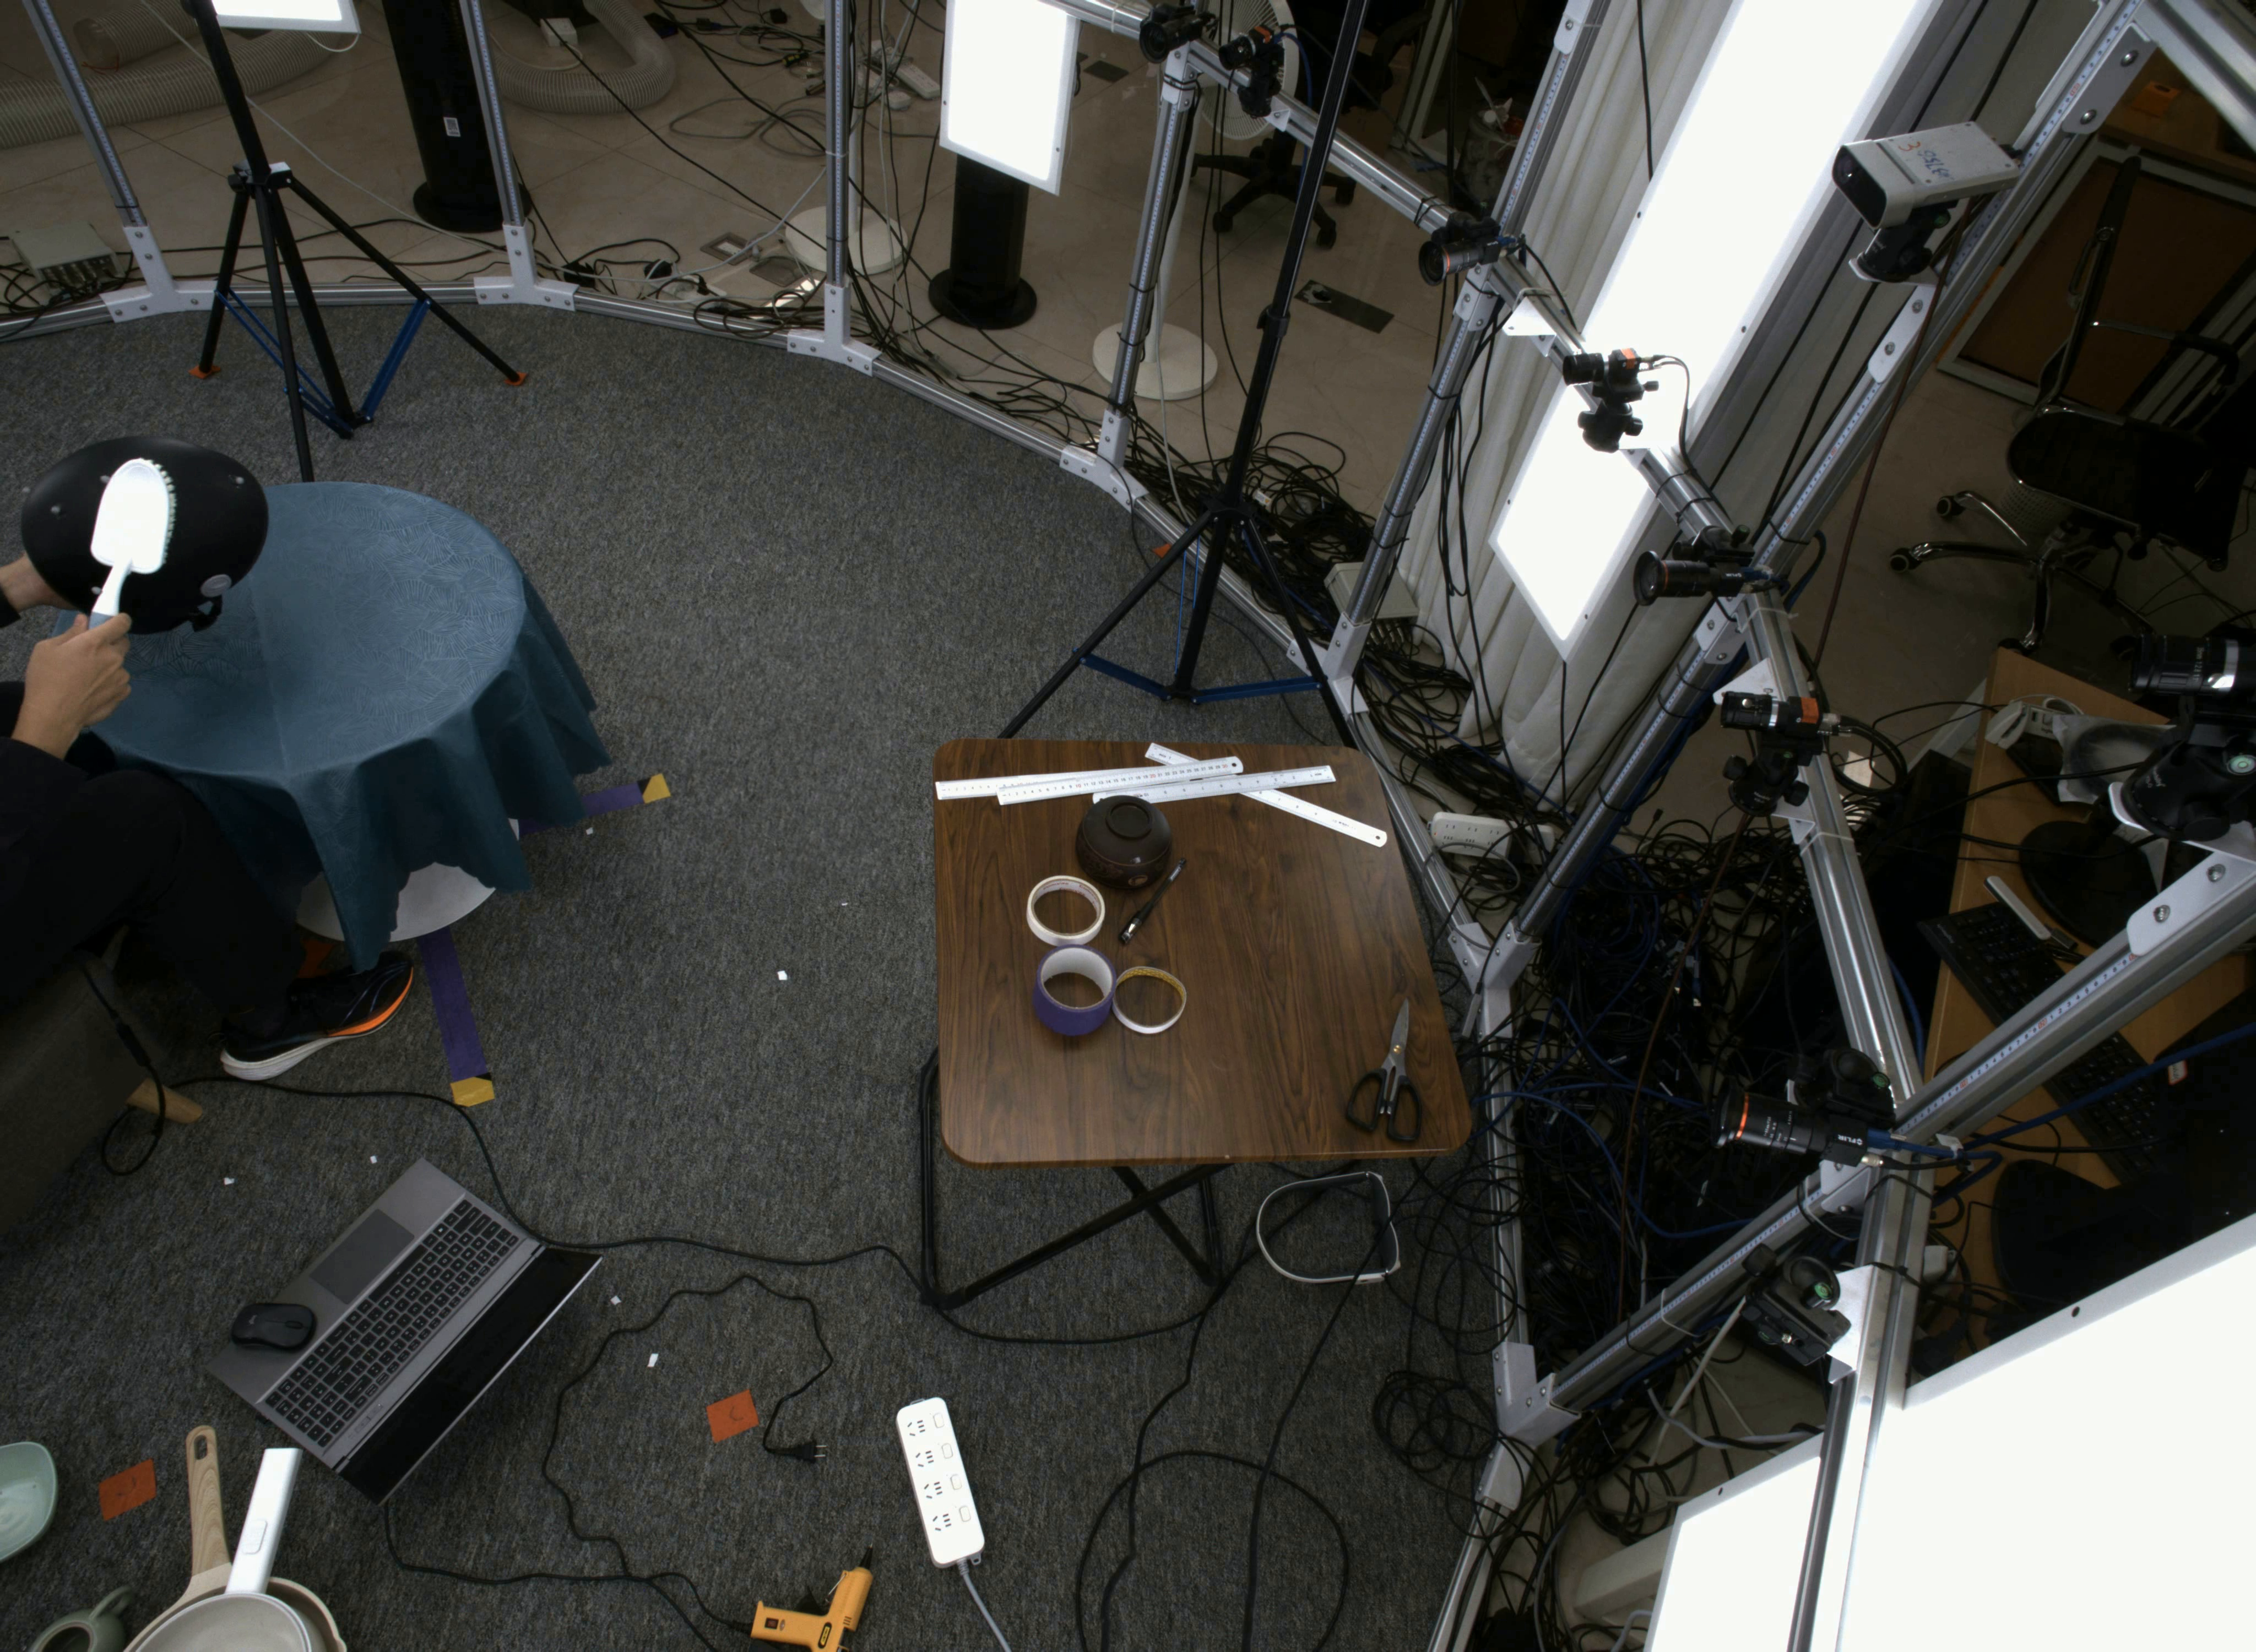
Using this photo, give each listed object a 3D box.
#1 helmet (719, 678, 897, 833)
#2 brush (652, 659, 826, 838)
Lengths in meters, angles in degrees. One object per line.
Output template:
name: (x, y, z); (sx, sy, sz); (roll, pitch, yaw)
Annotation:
helmet: (-0.501, -0.127, 1.945); (0.269, 0.173, 0.225); (-19, 47, 14)
brush: (-0.527, -0.098, 1.759); (0.080, 0.088, 0.325); (15, 59, 45)
